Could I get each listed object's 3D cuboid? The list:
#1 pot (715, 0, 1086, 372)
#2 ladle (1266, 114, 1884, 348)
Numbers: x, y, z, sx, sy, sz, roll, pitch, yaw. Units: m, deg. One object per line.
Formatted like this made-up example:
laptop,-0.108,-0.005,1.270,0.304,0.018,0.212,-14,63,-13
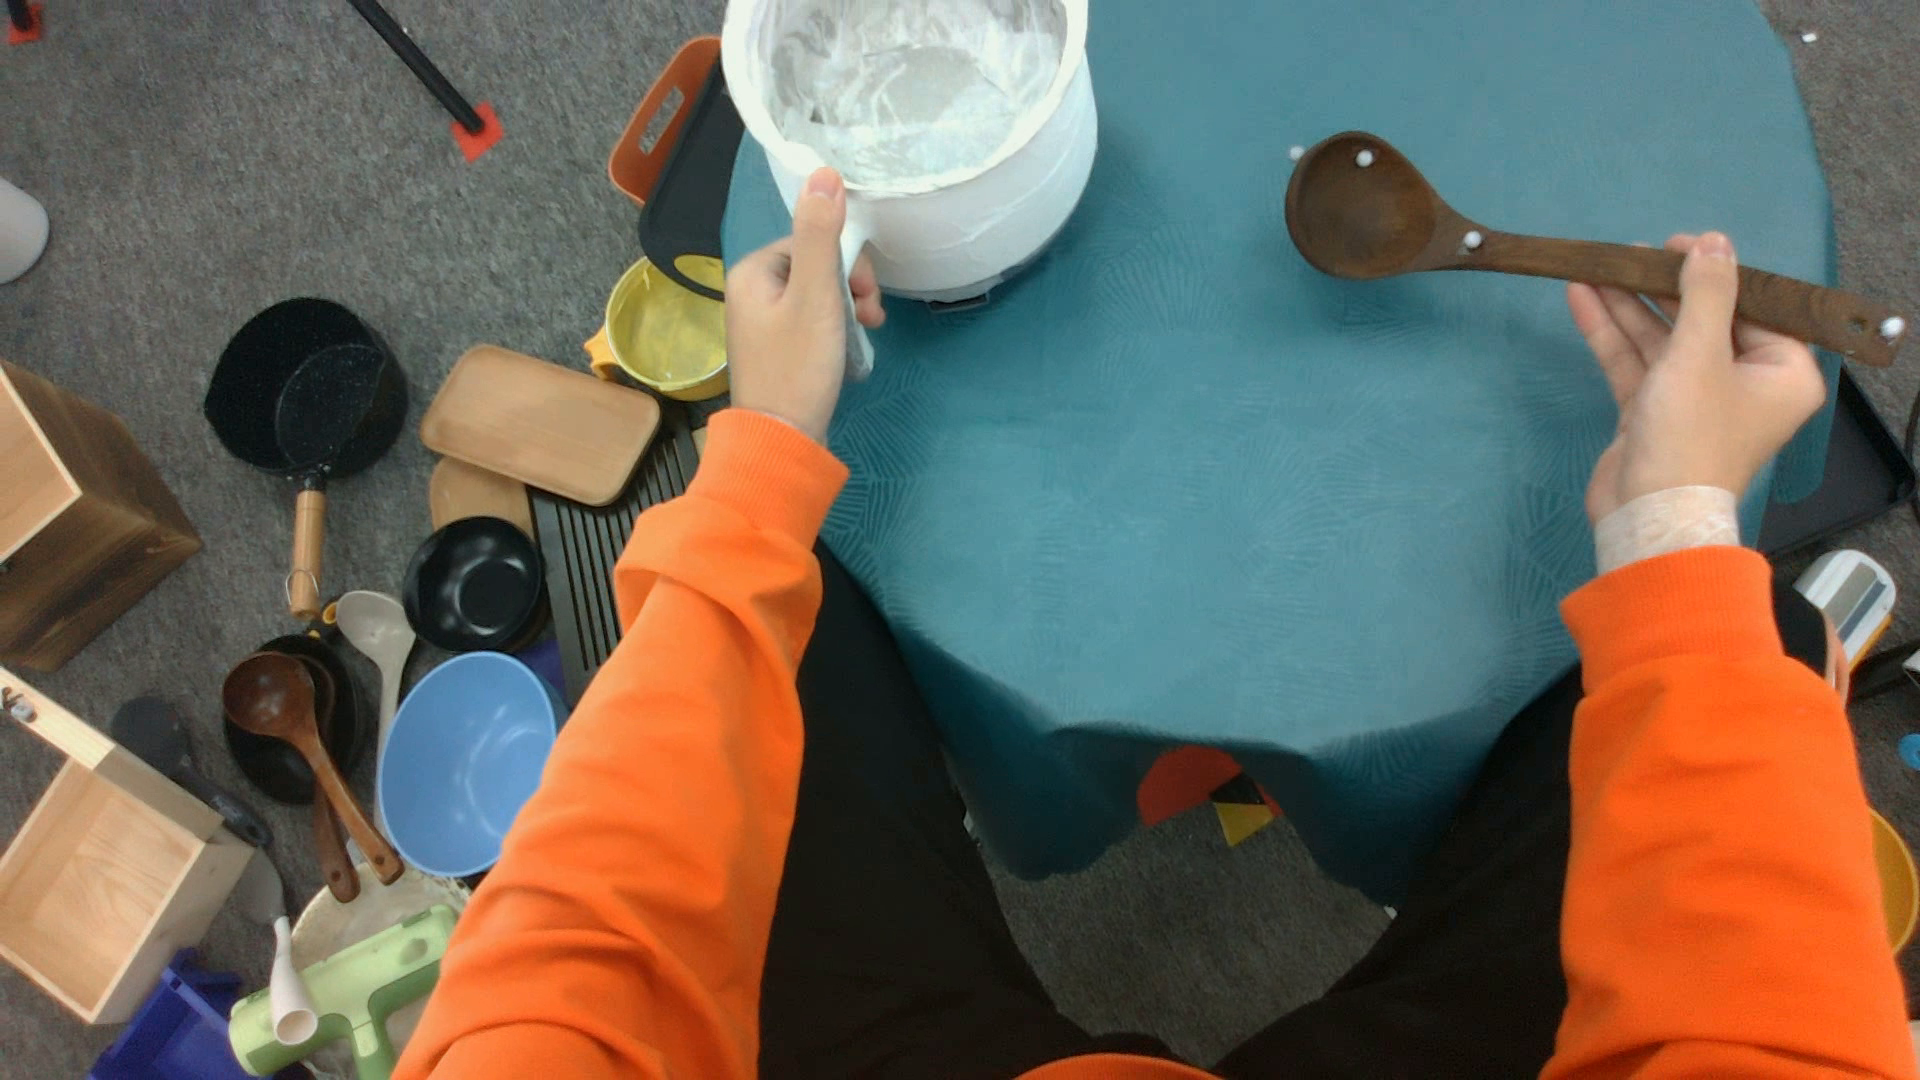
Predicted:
pot,-0.034,-0.207,0.717,0.178,0.136,0.234,18,77,13
ladle,0.275,-0.144,0.643,0.274,0.071,0.076,22,87,34
